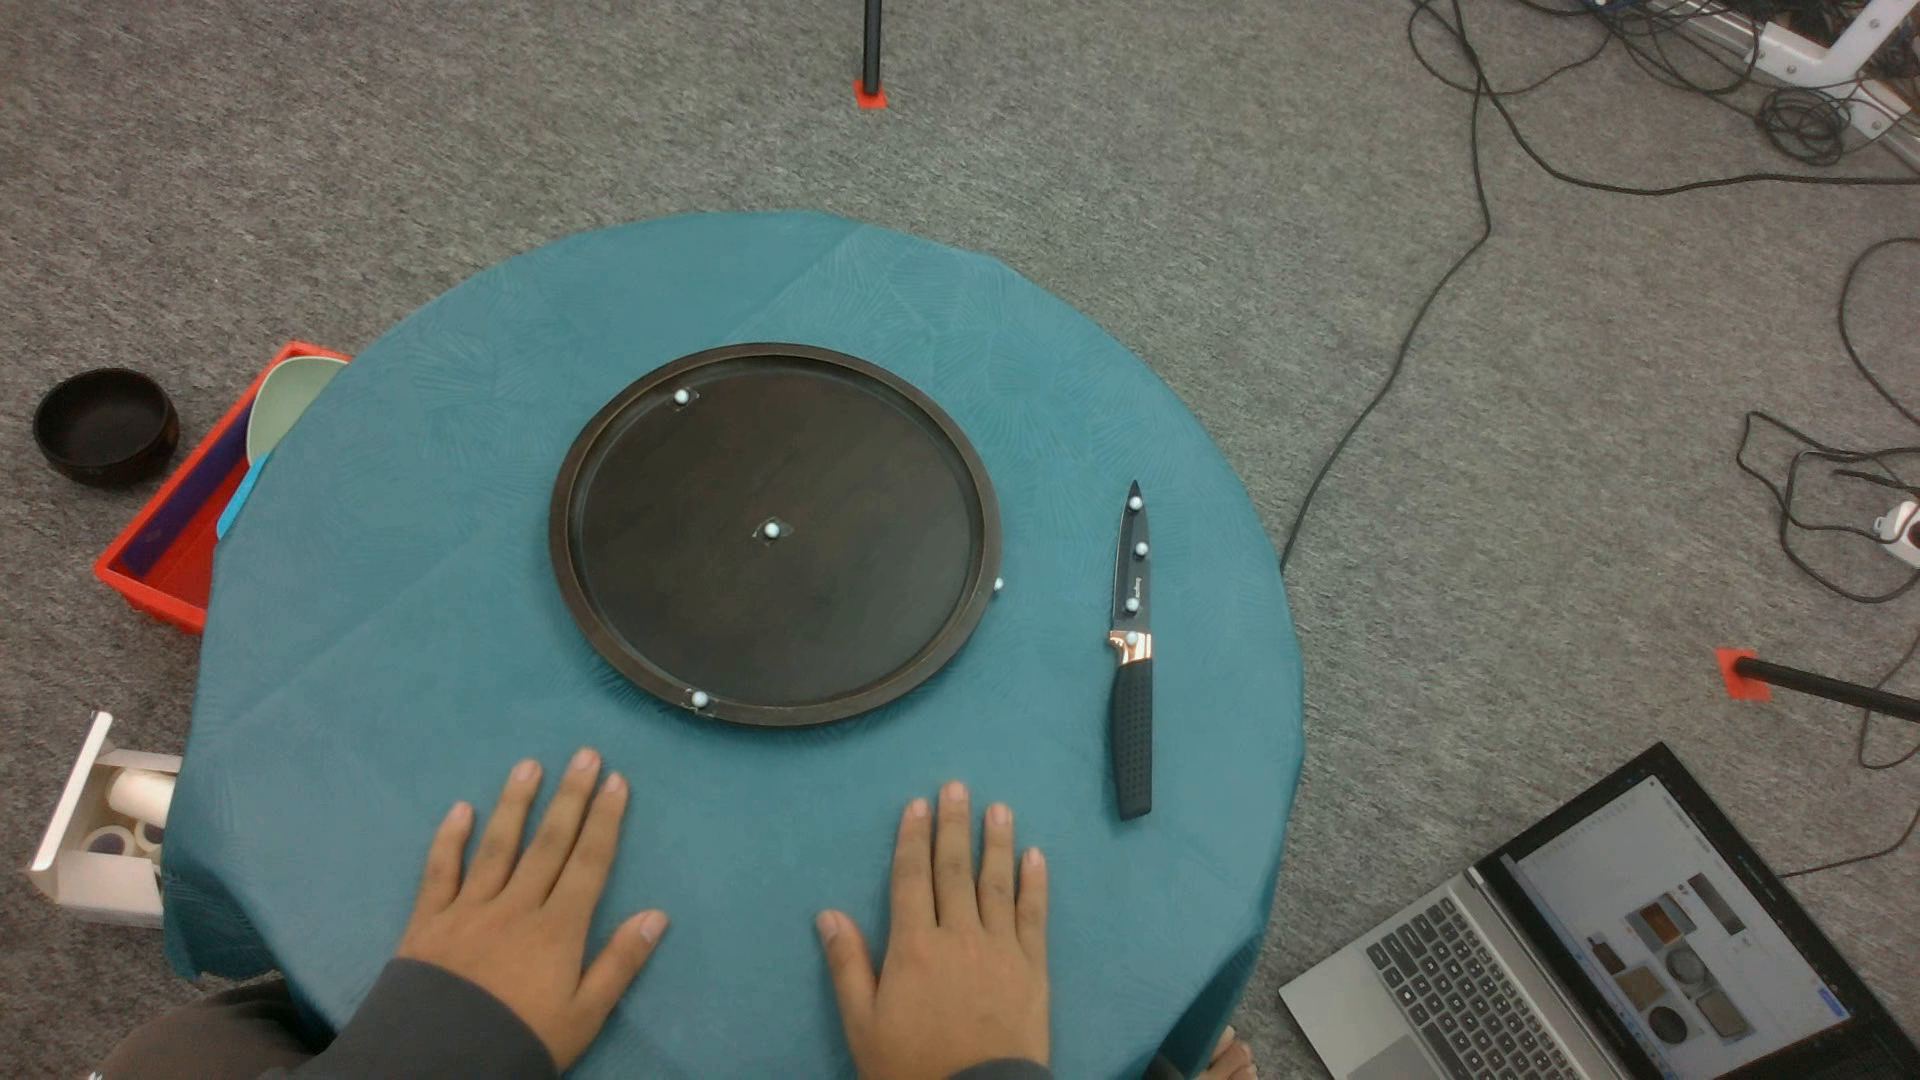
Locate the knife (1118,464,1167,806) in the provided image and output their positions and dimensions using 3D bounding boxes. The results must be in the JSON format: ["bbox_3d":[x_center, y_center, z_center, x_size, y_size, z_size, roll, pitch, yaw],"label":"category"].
[{"bbox_3d":[0.106,0.048,0.804,0.026,0.017,0.226,3,57,0],"label":"knife"}]

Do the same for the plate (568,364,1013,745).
[{"bbox_3d":[-0.095,0.002,0.798,0.255,0.029,0.256,4,59,-7],"label":"plate"}]
